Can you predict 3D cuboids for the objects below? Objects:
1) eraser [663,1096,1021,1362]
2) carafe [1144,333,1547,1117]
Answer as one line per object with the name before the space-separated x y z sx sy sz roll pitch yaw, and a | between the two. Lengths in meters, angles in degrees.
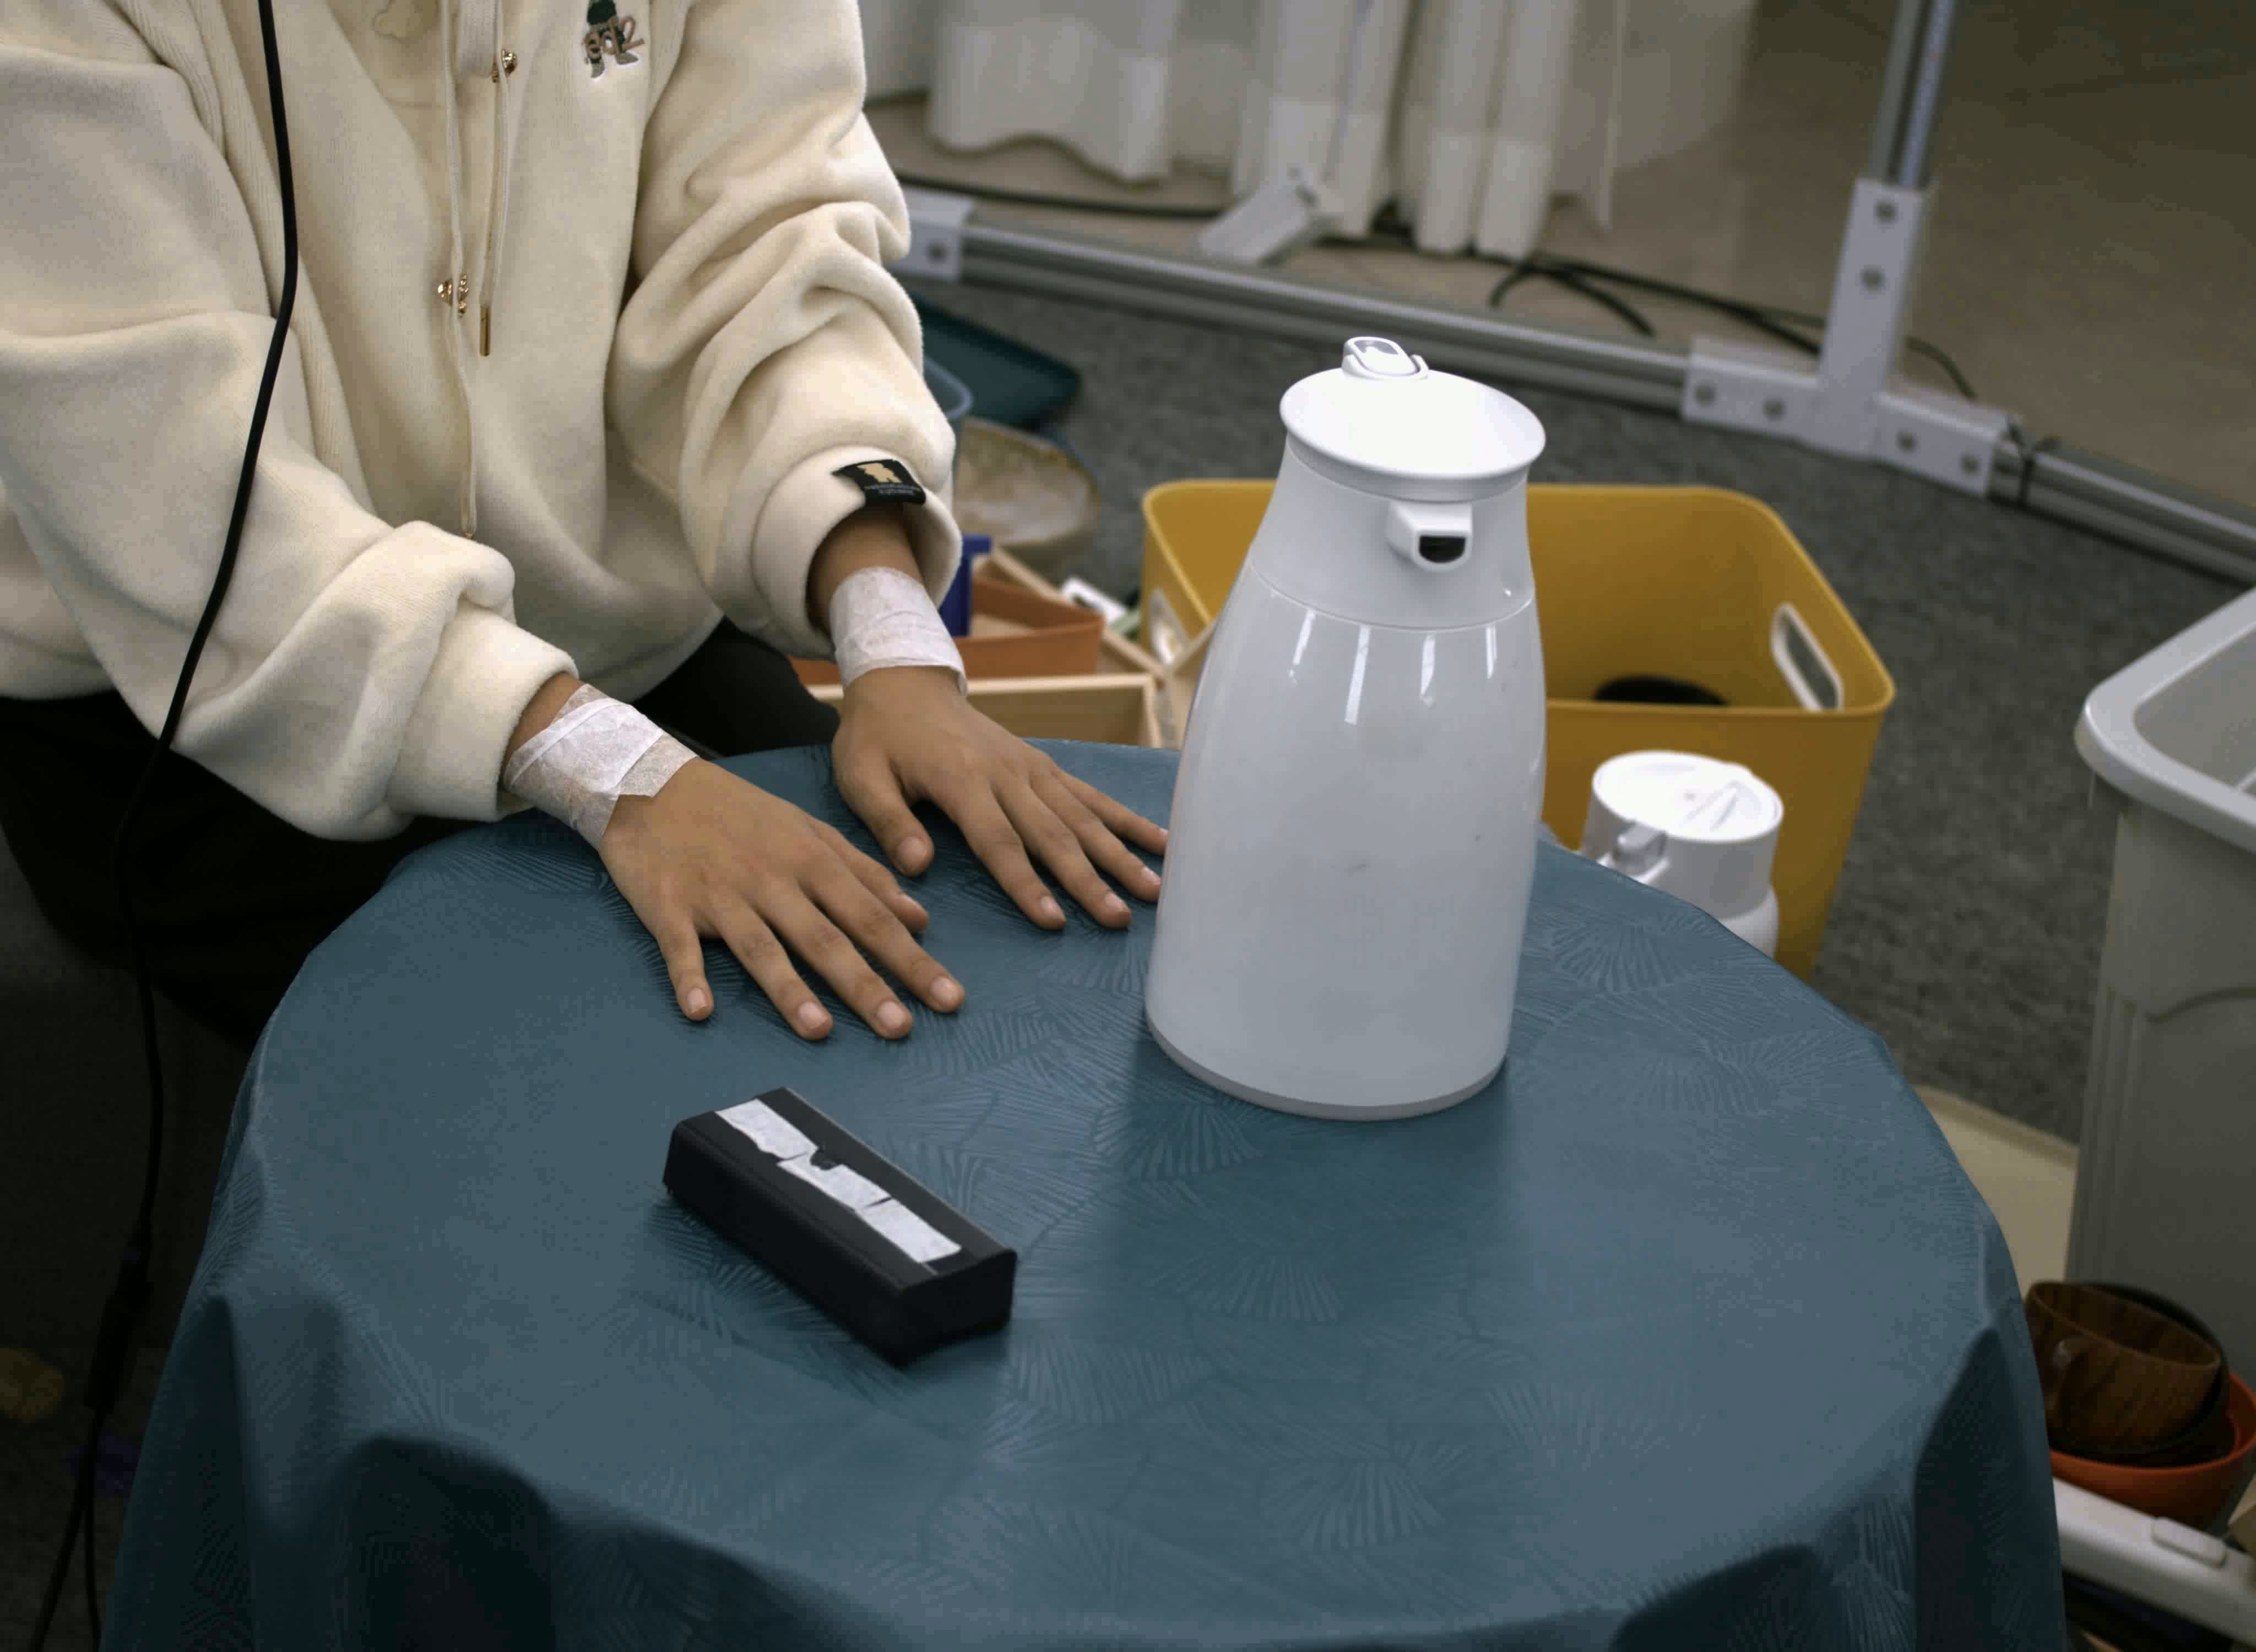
eraser | -0.094 0.130 1.736 0.053 0.030 0.126 -15 34 -40
carafe | 0.080 -0.046 1.879 0.132 0.248 0.169 1 26 -11
